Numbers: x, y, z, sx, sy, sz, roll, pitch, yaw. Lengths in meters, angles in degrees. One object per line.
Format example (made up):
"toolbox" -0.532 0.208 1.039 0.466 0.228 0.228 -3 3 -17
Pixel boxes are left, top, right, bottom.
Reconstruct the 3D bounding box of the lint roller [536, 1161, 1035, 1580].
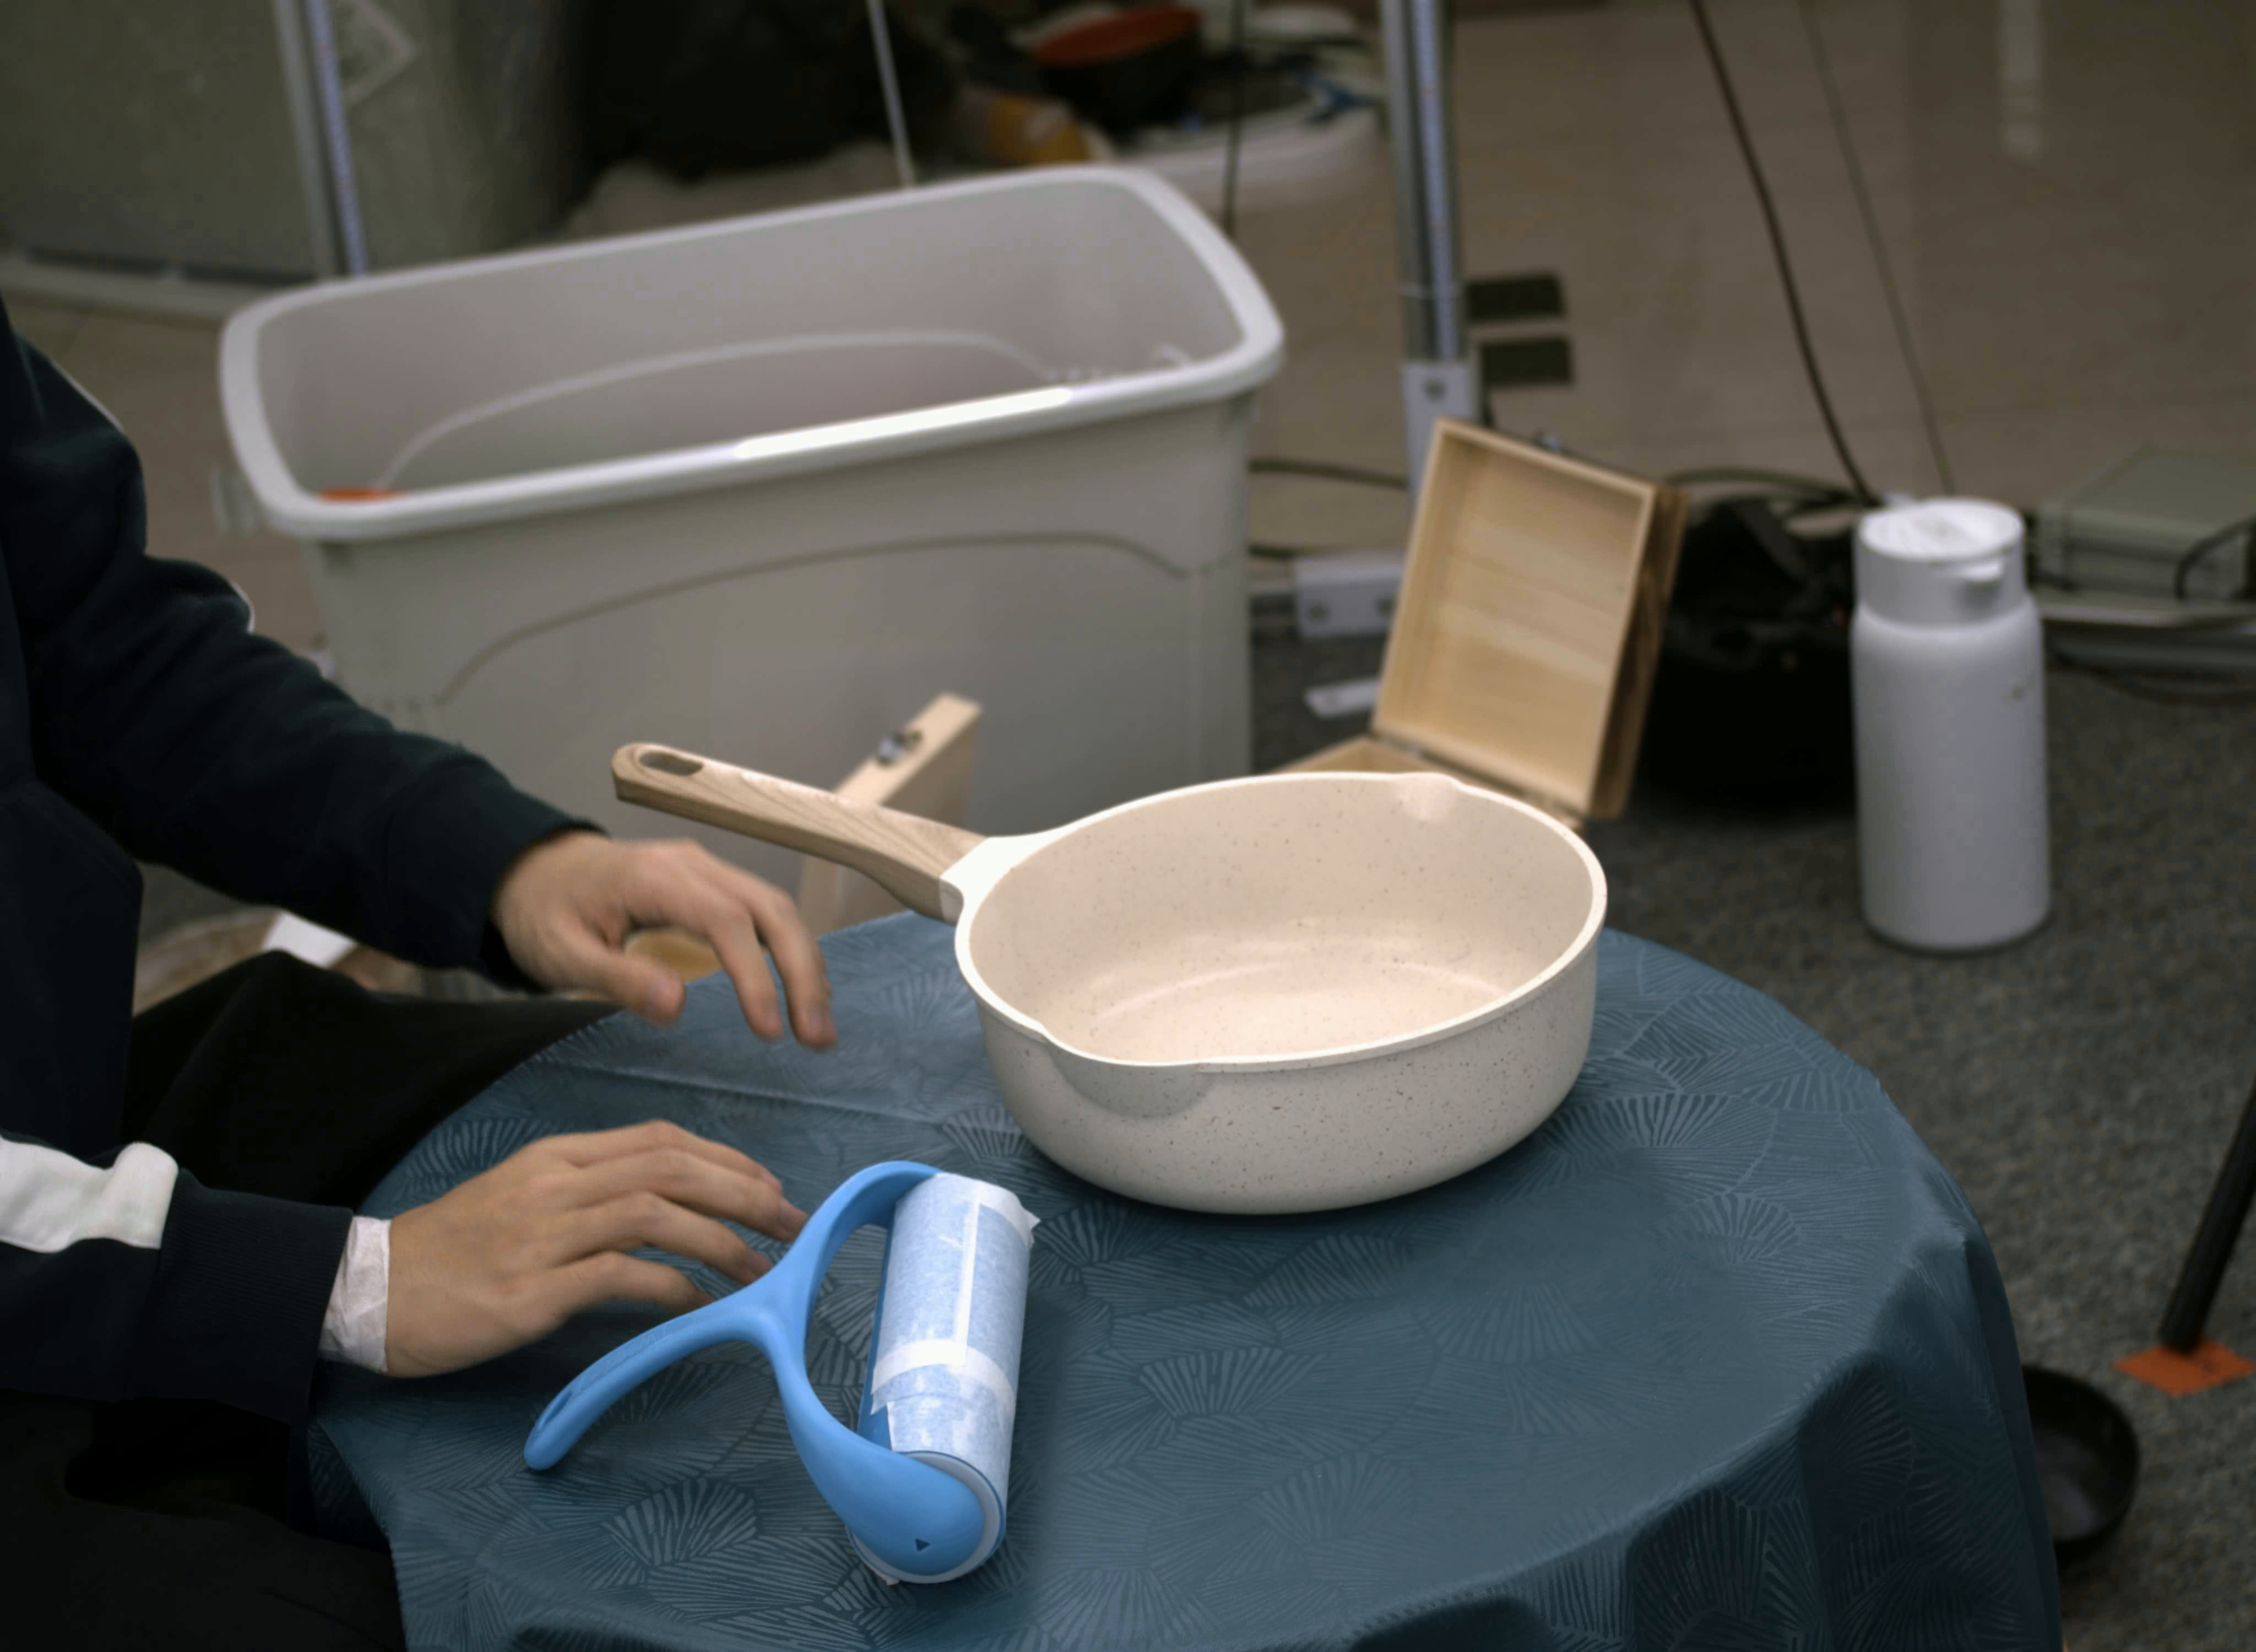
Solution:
"lint roller" -0.122 0.194 1.987 0.180 0.069 0.225 -5 27 1

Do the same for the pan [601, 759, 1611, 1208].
"pan" -0.017 0.047 2.226 0.433 0.103 0.260 8 30 29
